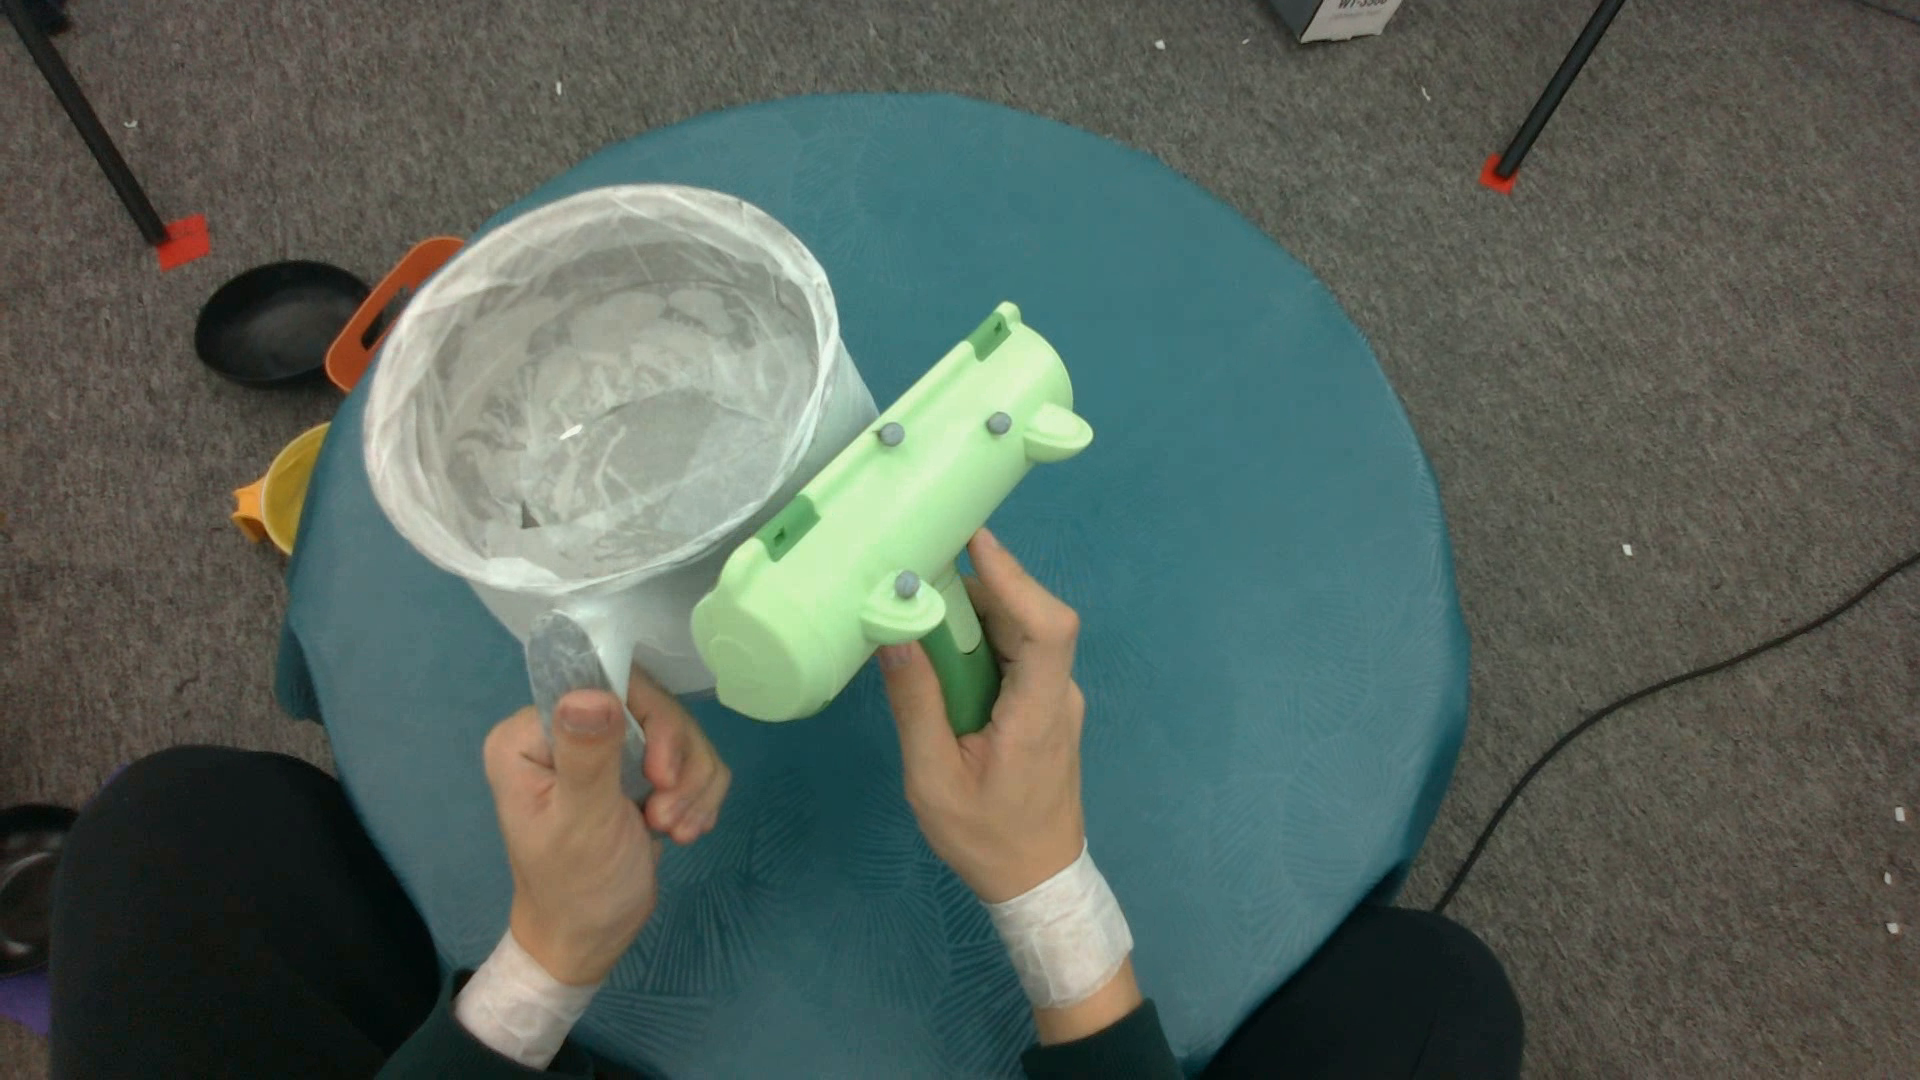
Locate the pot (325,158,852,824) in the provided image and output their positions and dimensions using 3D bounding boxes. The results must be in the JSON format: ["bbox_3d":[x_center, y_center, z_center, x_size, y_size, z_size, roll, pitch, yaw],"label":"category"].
[{"bbox_3d":[-0.133,-0.015,0.536,0.178,0.136,0.234,-5,63,8],"label":"pot"}]

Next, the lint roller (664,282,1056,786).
[{"bbox_3d":[-0.007,0.024,0.521,0.082,0.183,0.199,-5,32,35],"label":"lint roller"}]
